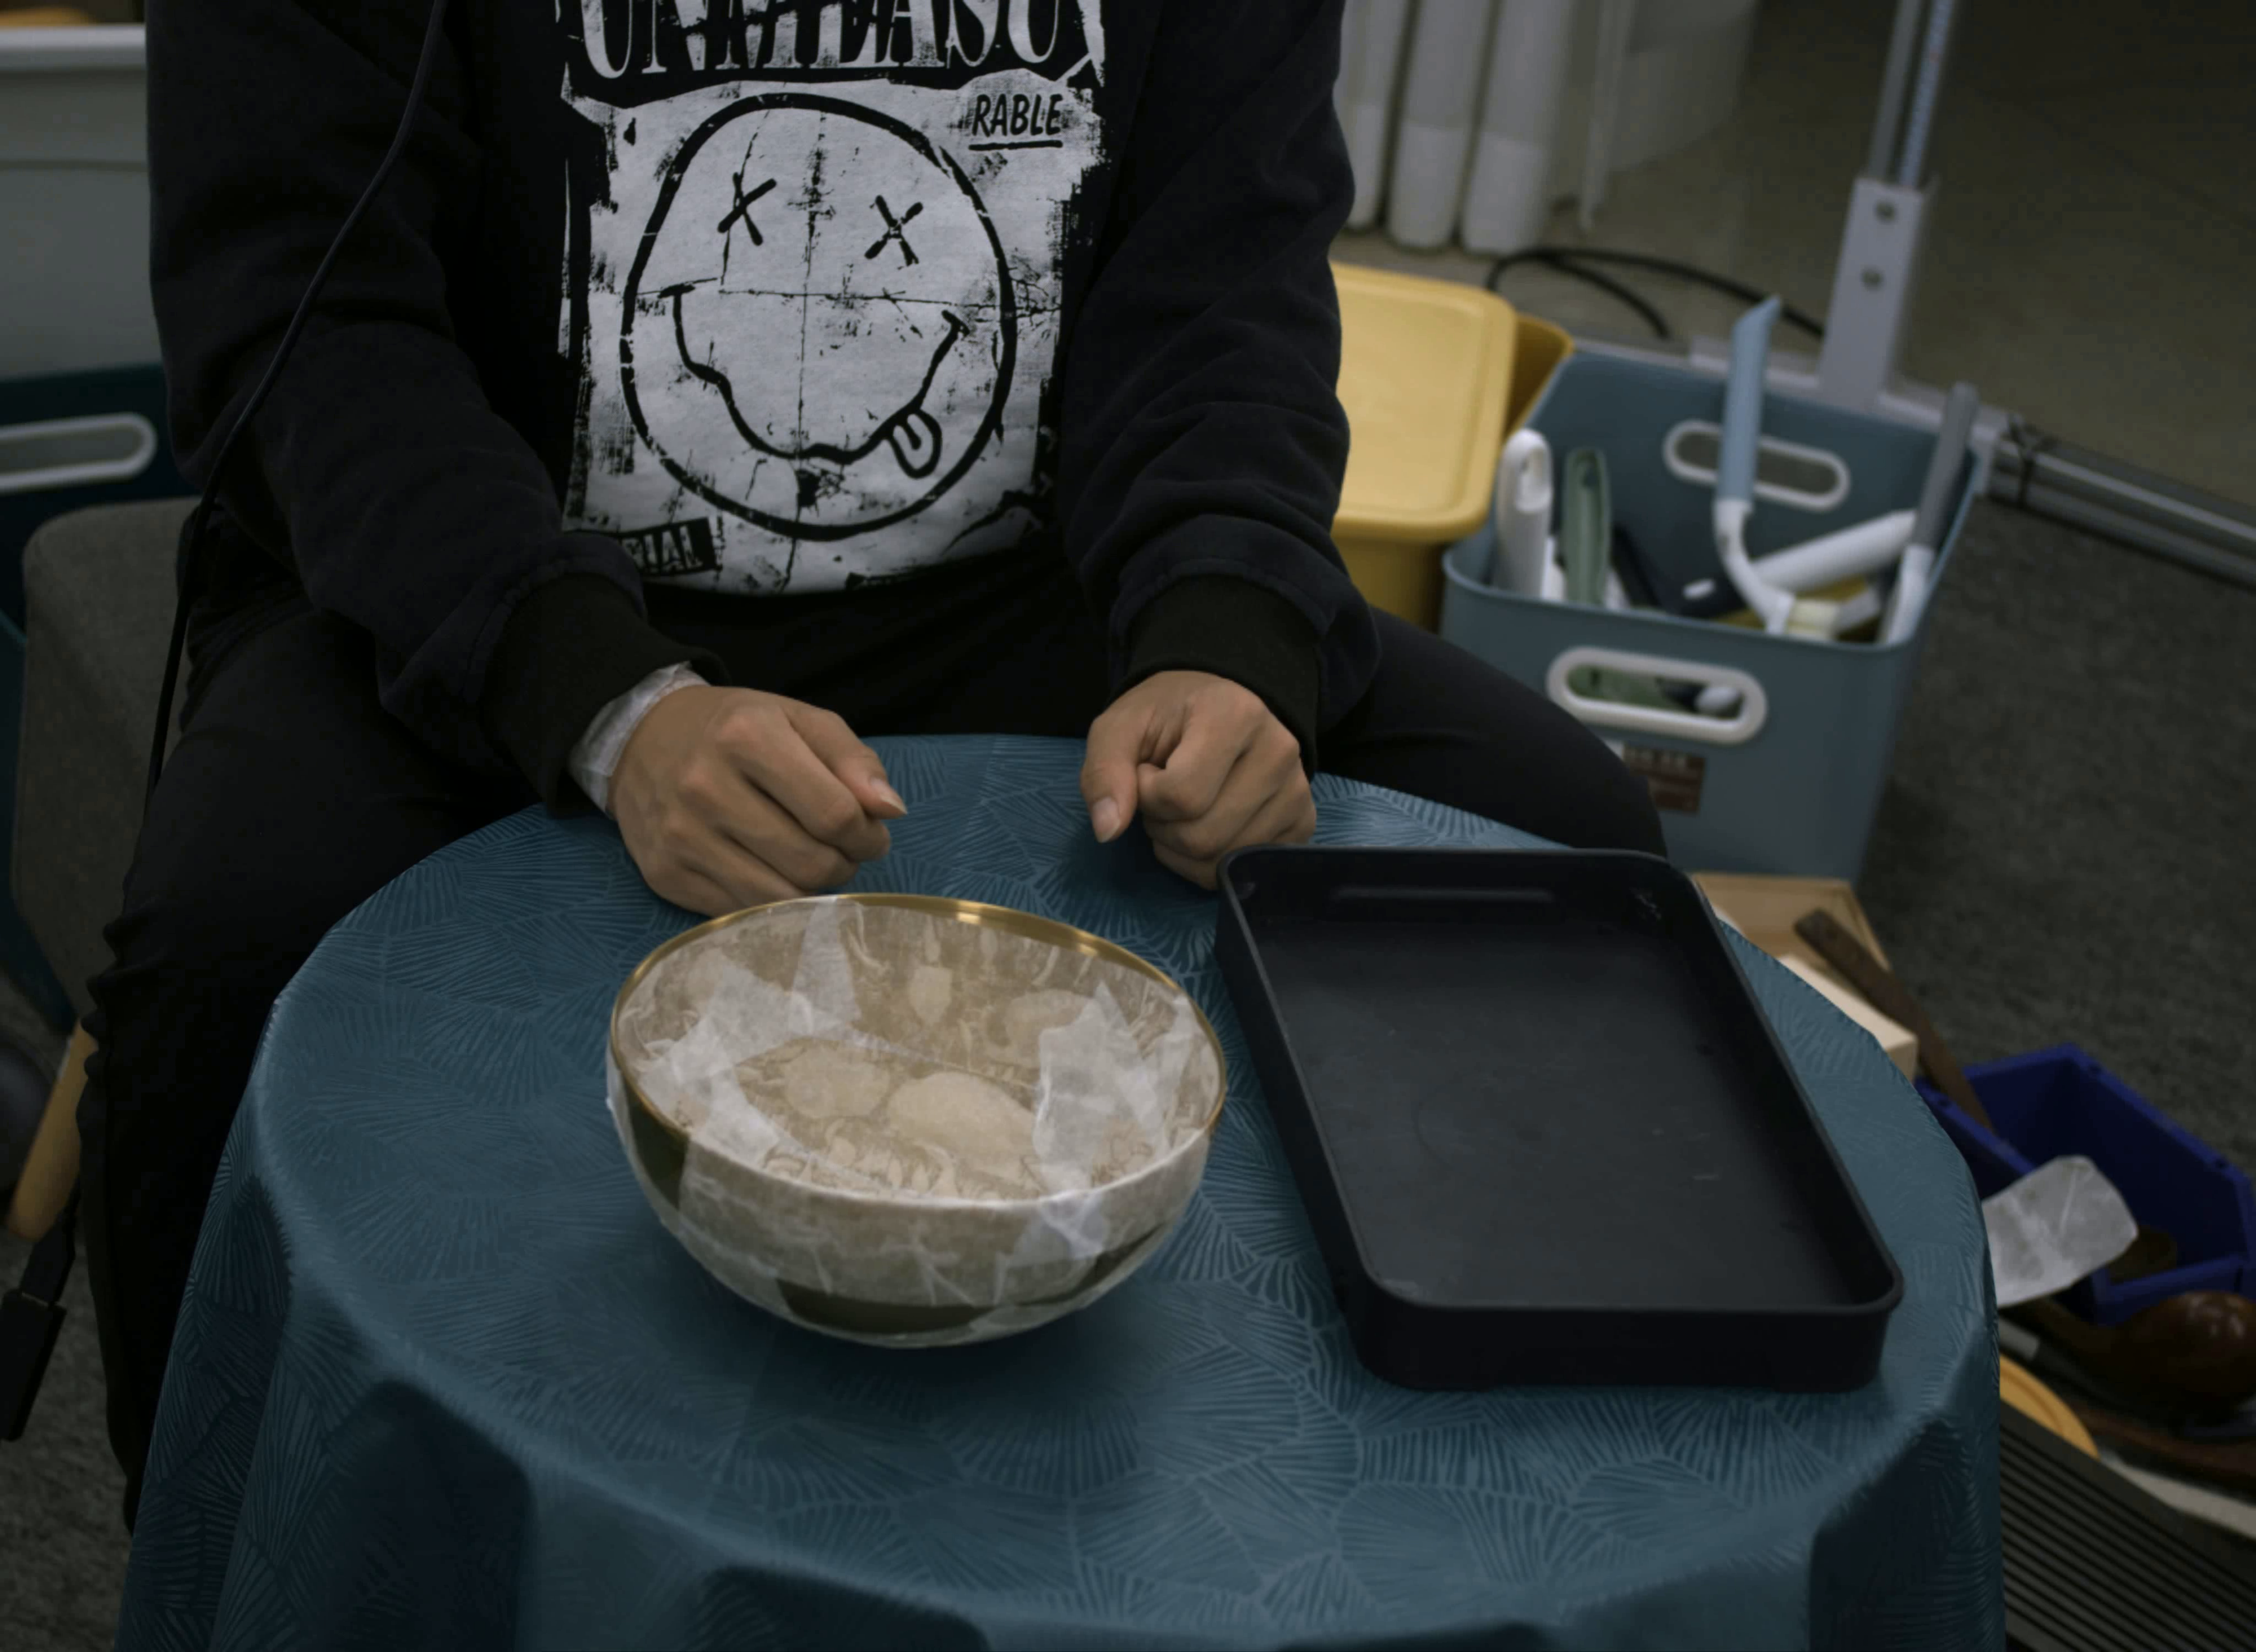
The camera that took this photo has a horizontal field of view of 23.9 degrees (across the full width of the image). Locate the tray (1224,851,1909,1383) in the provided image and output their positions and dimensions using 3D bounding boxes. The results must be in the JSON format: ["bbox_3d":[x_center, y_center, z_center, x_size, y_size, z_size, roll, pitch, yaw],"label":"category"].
[{"bbox_3d":[0.143,0.095,1.845,0.183,0.037,0.320,1,26,-9],"label":"tray"}]

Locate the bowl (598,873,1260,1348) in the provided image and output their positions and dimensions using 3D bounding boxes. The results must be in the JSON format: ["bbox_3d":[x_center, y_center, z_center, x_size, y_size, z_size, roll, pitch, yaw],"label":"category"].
[{"bbox_3d":[-0.069,0.105,1.719,0.214,0.094,0.216,4,27,-2],"label":"bowl"}]
